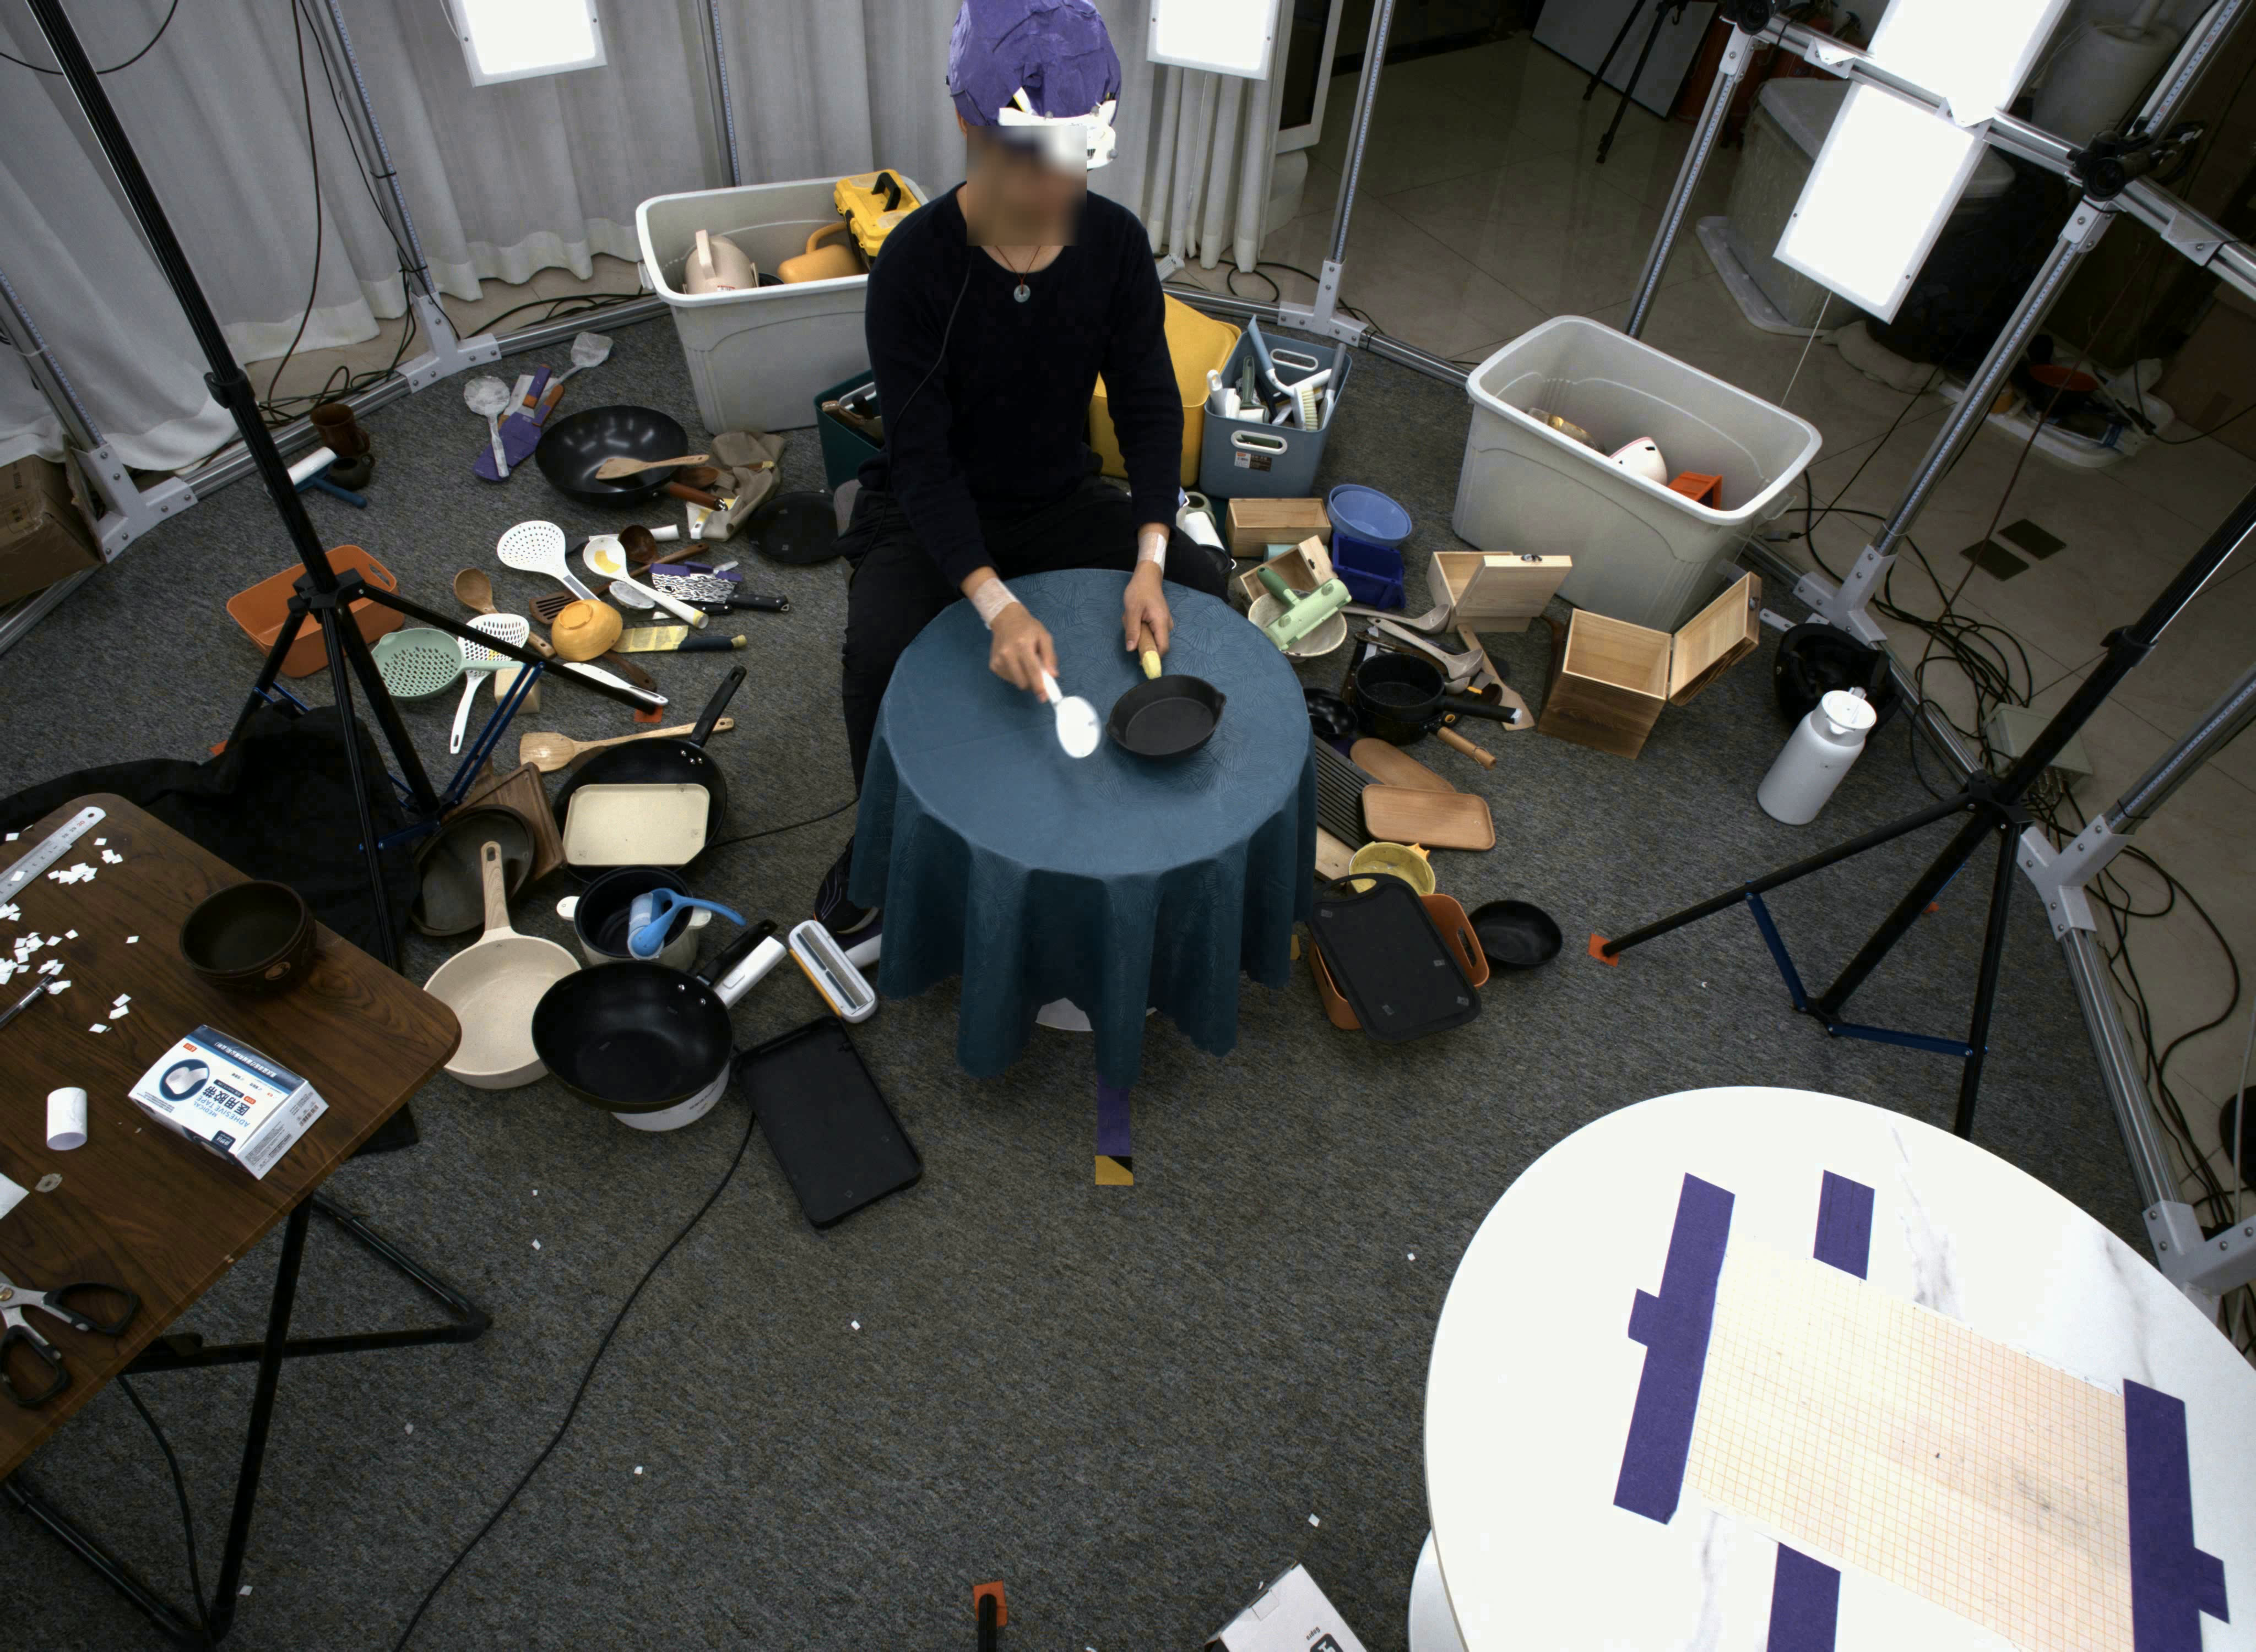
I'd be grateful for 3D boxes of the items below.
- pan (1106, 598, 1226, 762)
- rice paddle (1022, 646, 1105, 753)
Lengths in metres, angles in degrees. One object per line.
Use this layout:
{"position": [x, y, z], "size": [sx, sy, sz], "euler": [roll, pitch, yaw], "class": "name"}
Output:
{"position": [0.042, -0.209, 1.812], "size": [0.169, 0.048, 0.332], "euler": [-14, 46, 4], "class": "pan"}
{"position": [-0.085, -0.173, 1.720], "size": [0.029, 0.068, 0.210], "euler": [8, 34, -41], "class": "rice paddle"}
